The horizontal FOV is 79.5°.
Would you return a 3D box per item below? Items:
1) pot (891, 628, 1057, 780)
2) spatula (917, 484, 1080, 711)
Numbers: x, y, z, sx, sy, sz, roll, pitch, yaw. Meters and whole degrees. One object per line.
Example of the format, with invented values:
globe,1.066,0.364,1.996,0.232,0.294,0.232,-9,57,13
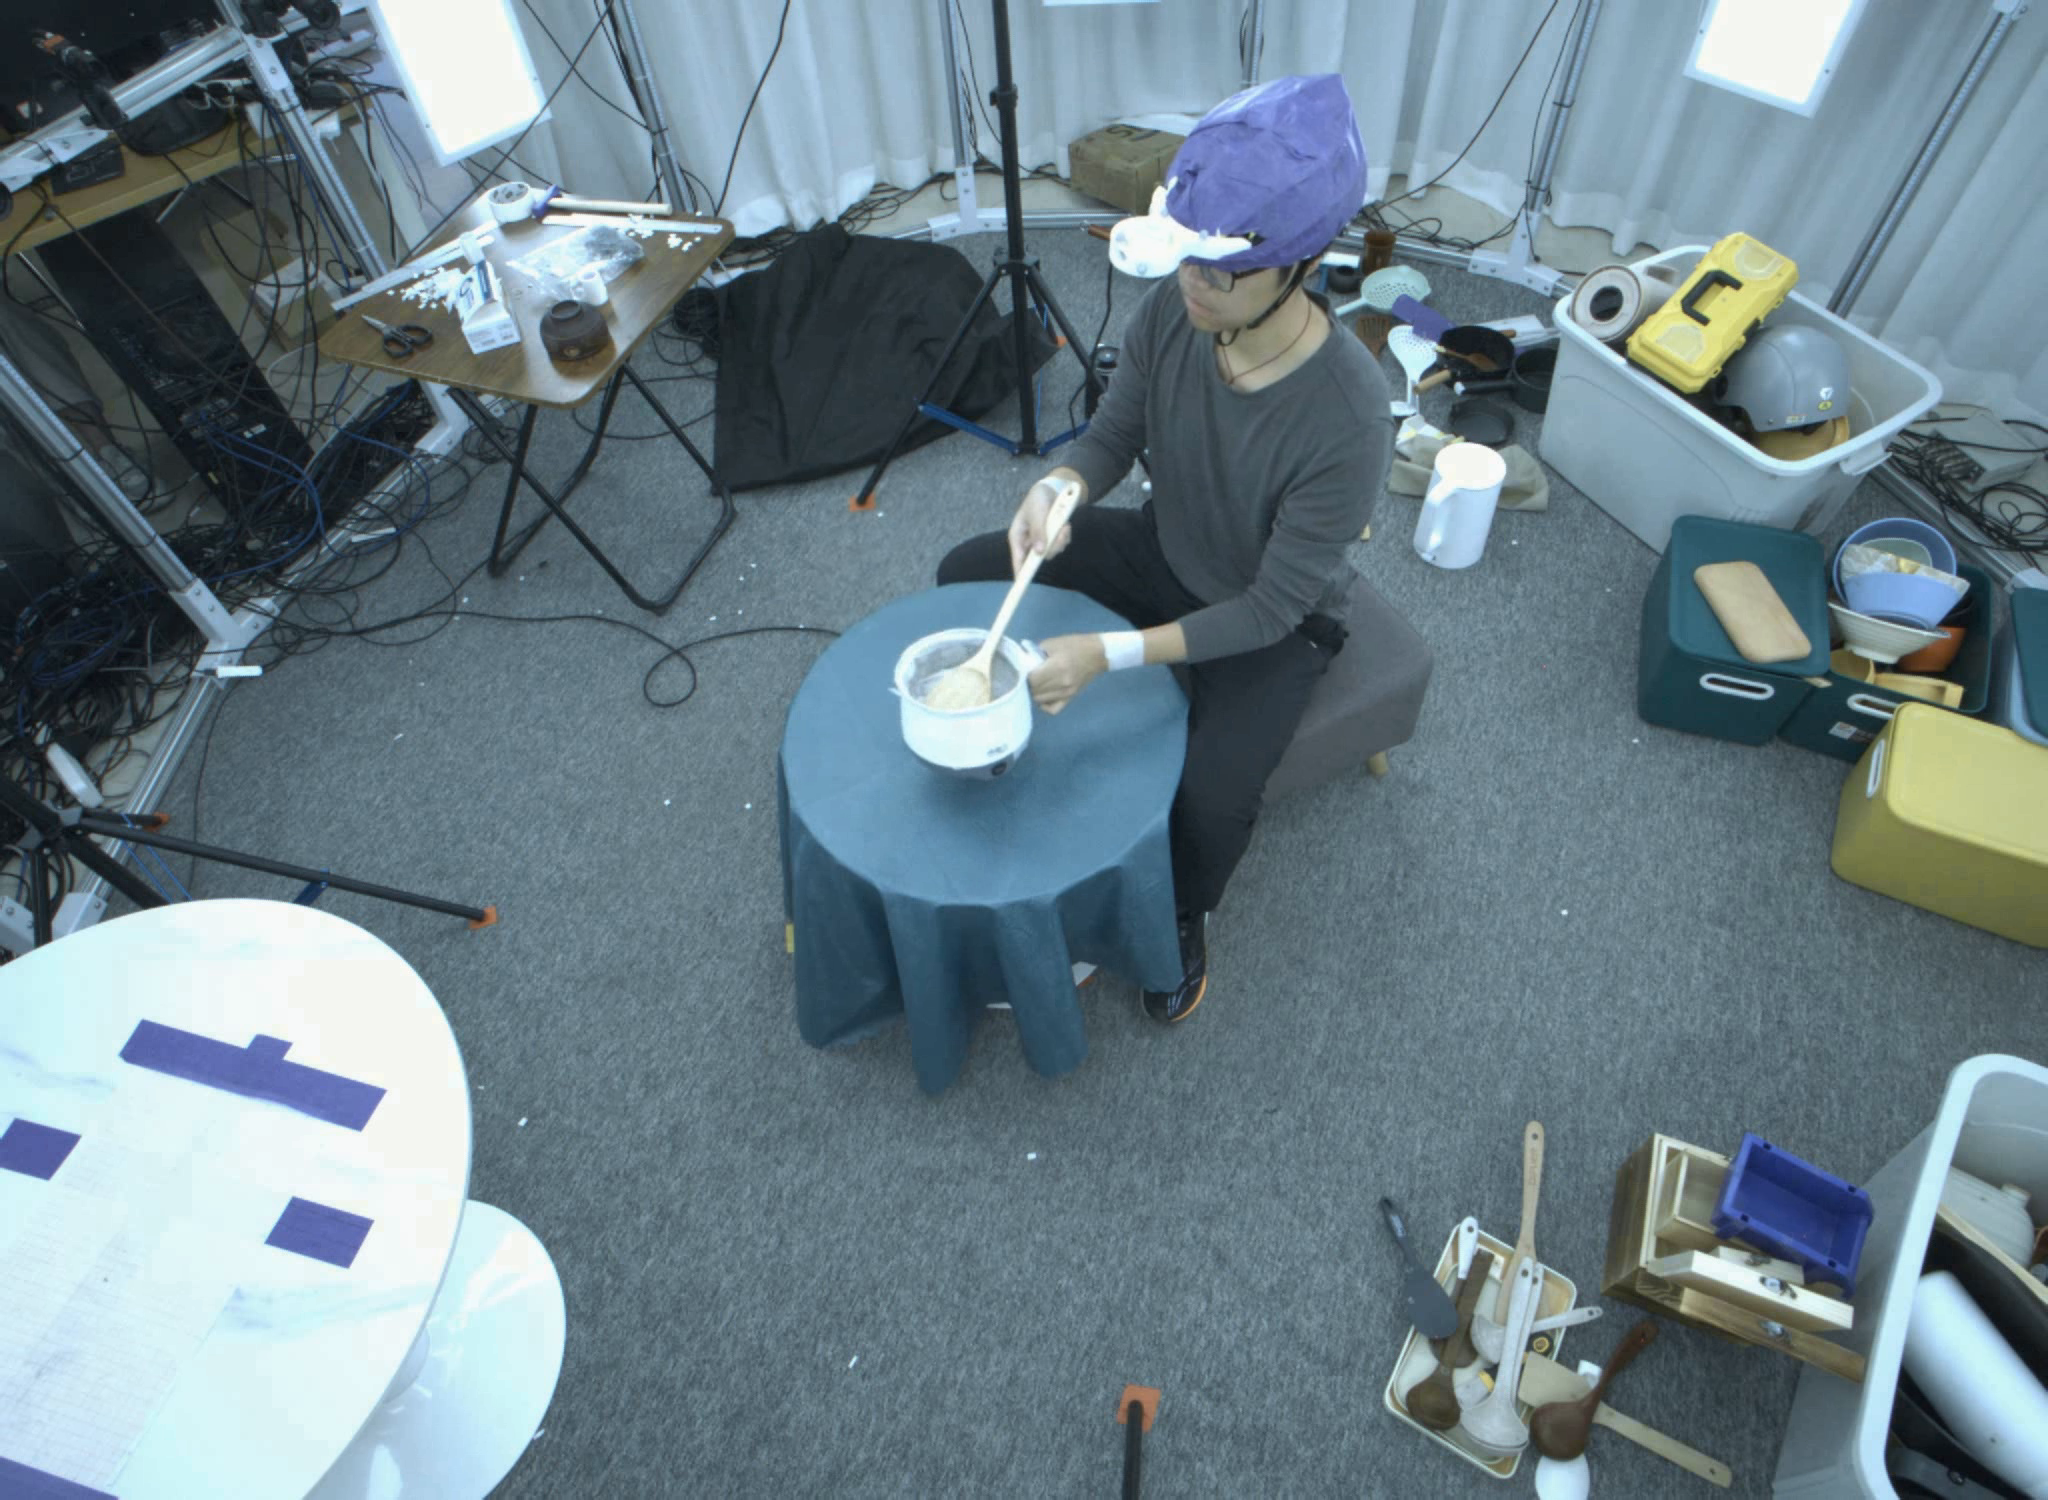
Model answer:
pot,-0.060,-0.072,1.674,0.236,0.138,0.175,-26,49,-22
spatula,-0.026,-0.198,1.672,0.094,0.019,0.390,25,85,25
